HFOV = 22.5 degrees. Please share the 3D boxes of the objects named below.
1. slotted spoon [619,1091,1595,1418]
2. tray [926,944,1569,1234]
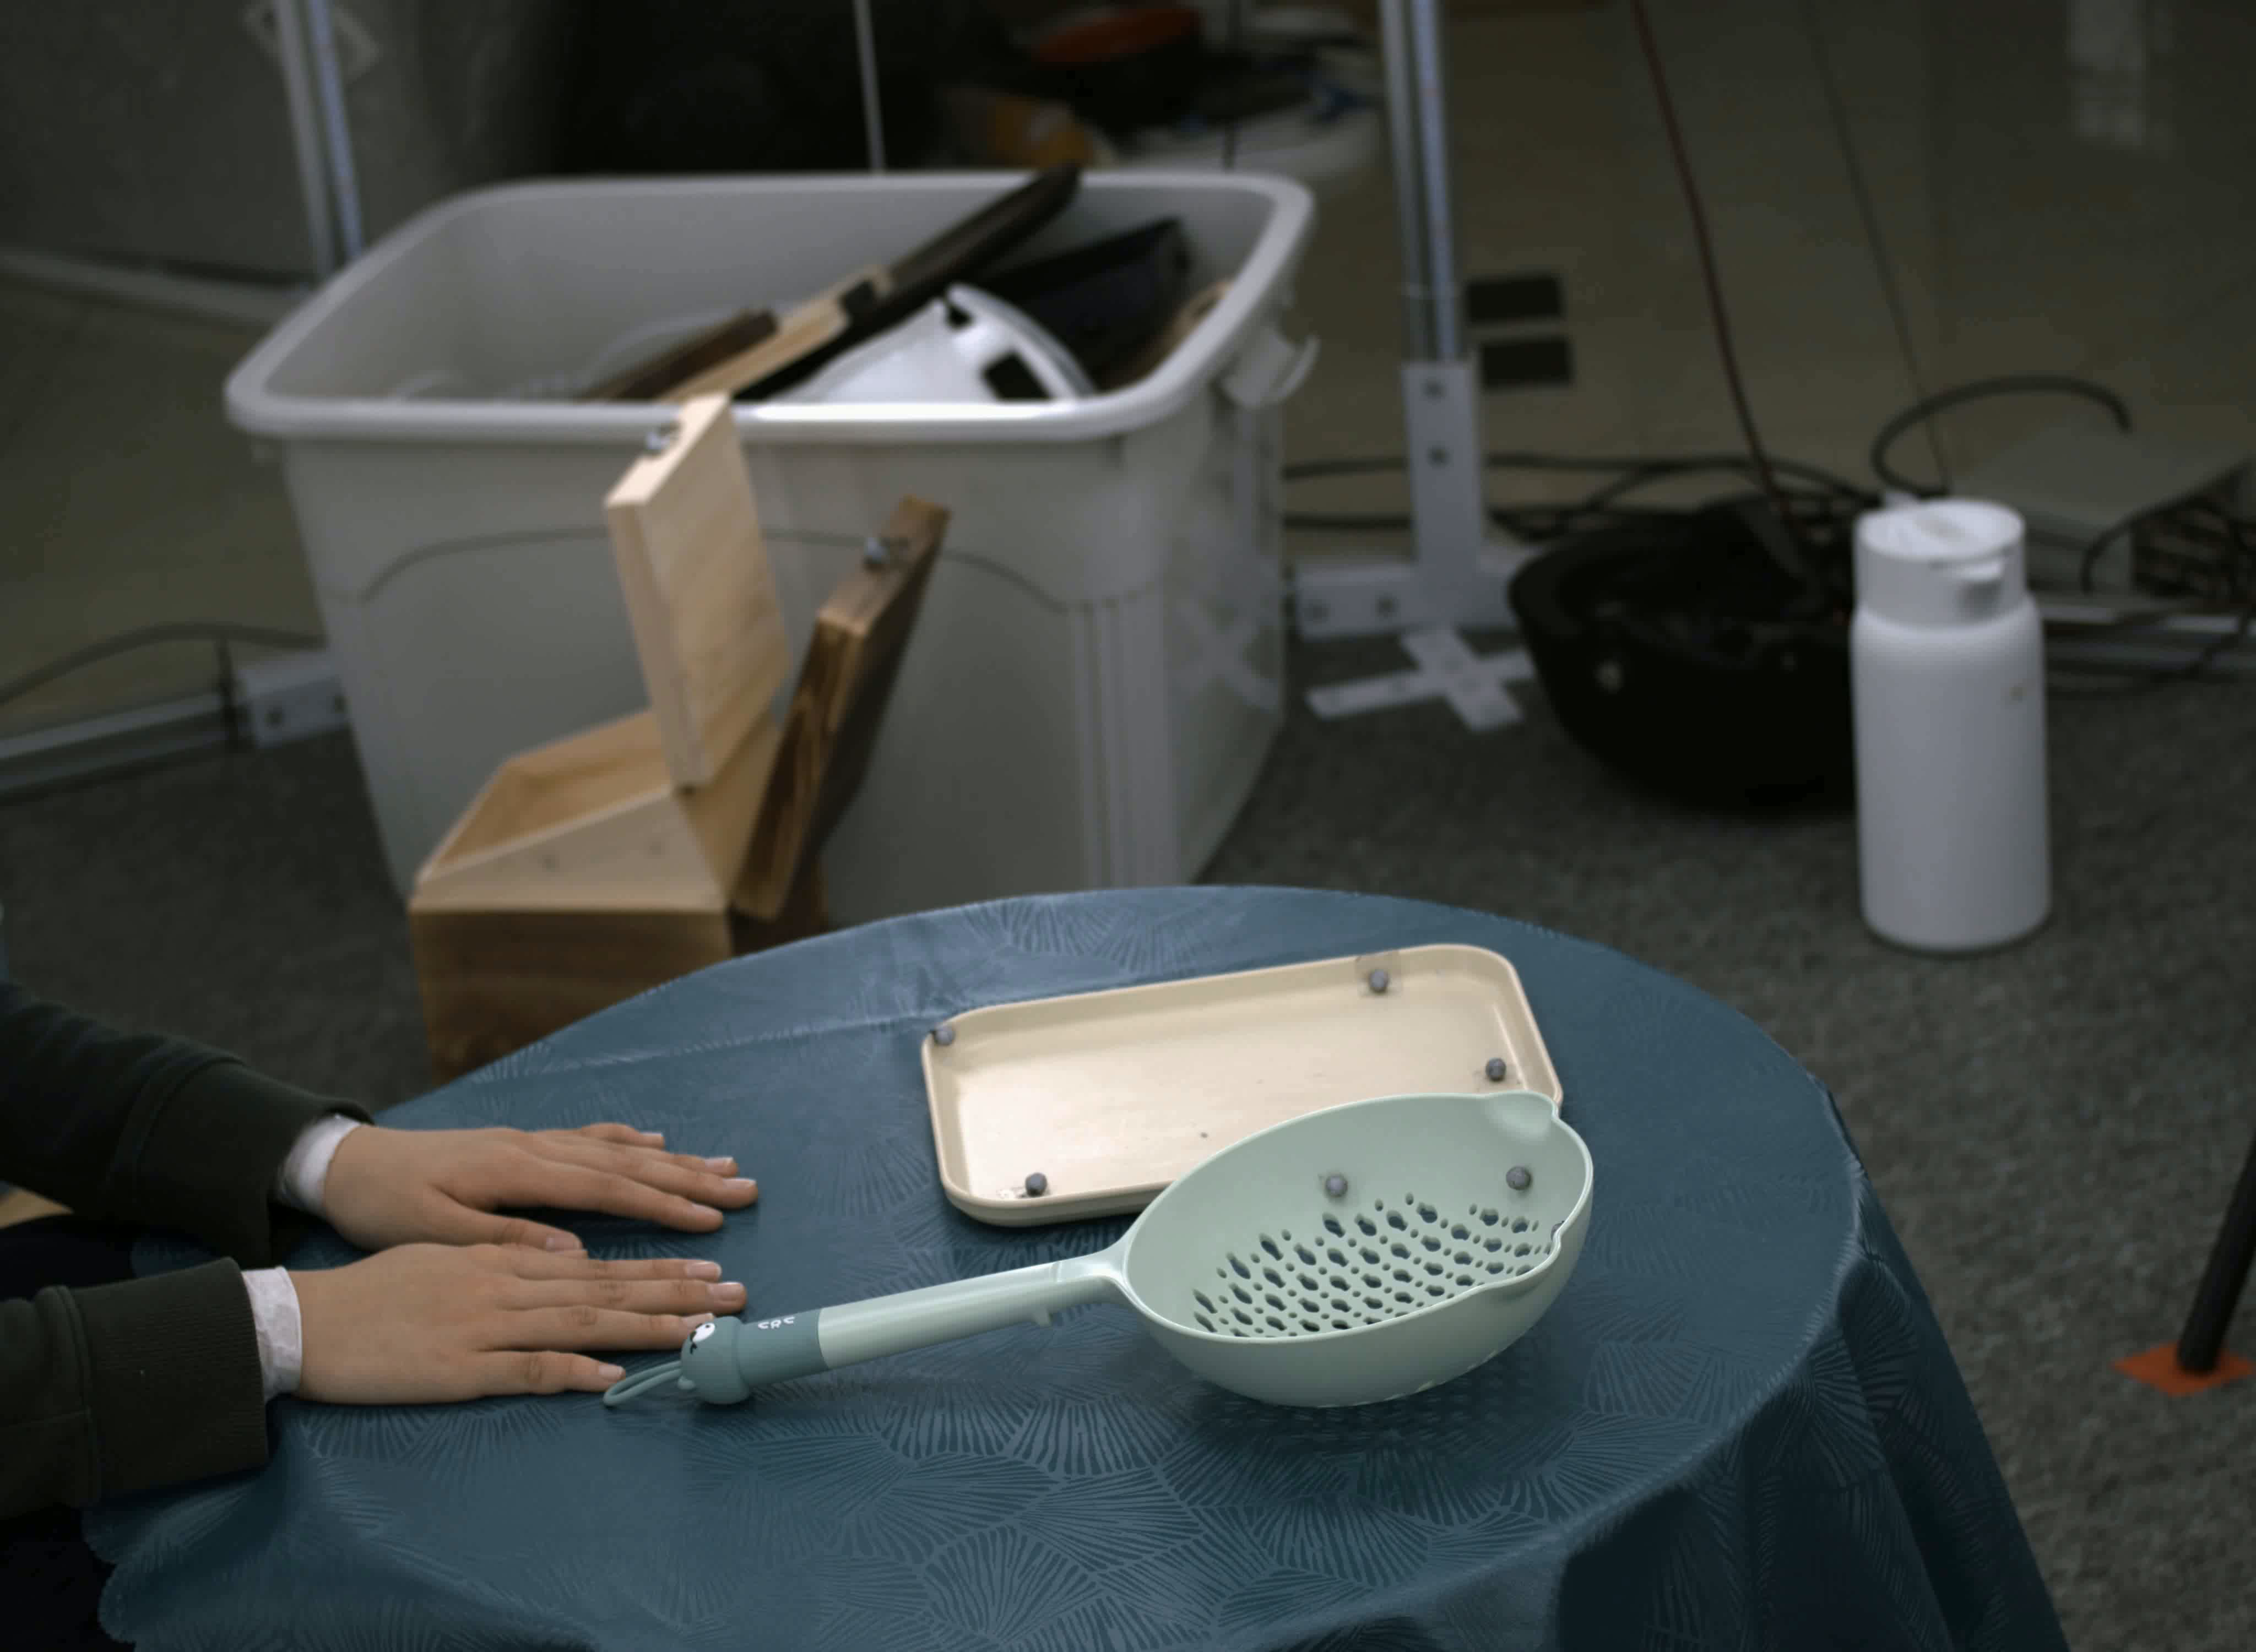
[{"bbox_3d":[-0.011,0.167,2.019,0.358,0.076,0.167,-4,24,6],"label":"slotted spoon"},{"bbox_3d":[0.044,0.103,2.201,0.239,0.018,0.169,-9,25,-3],"label":"tray"}]
